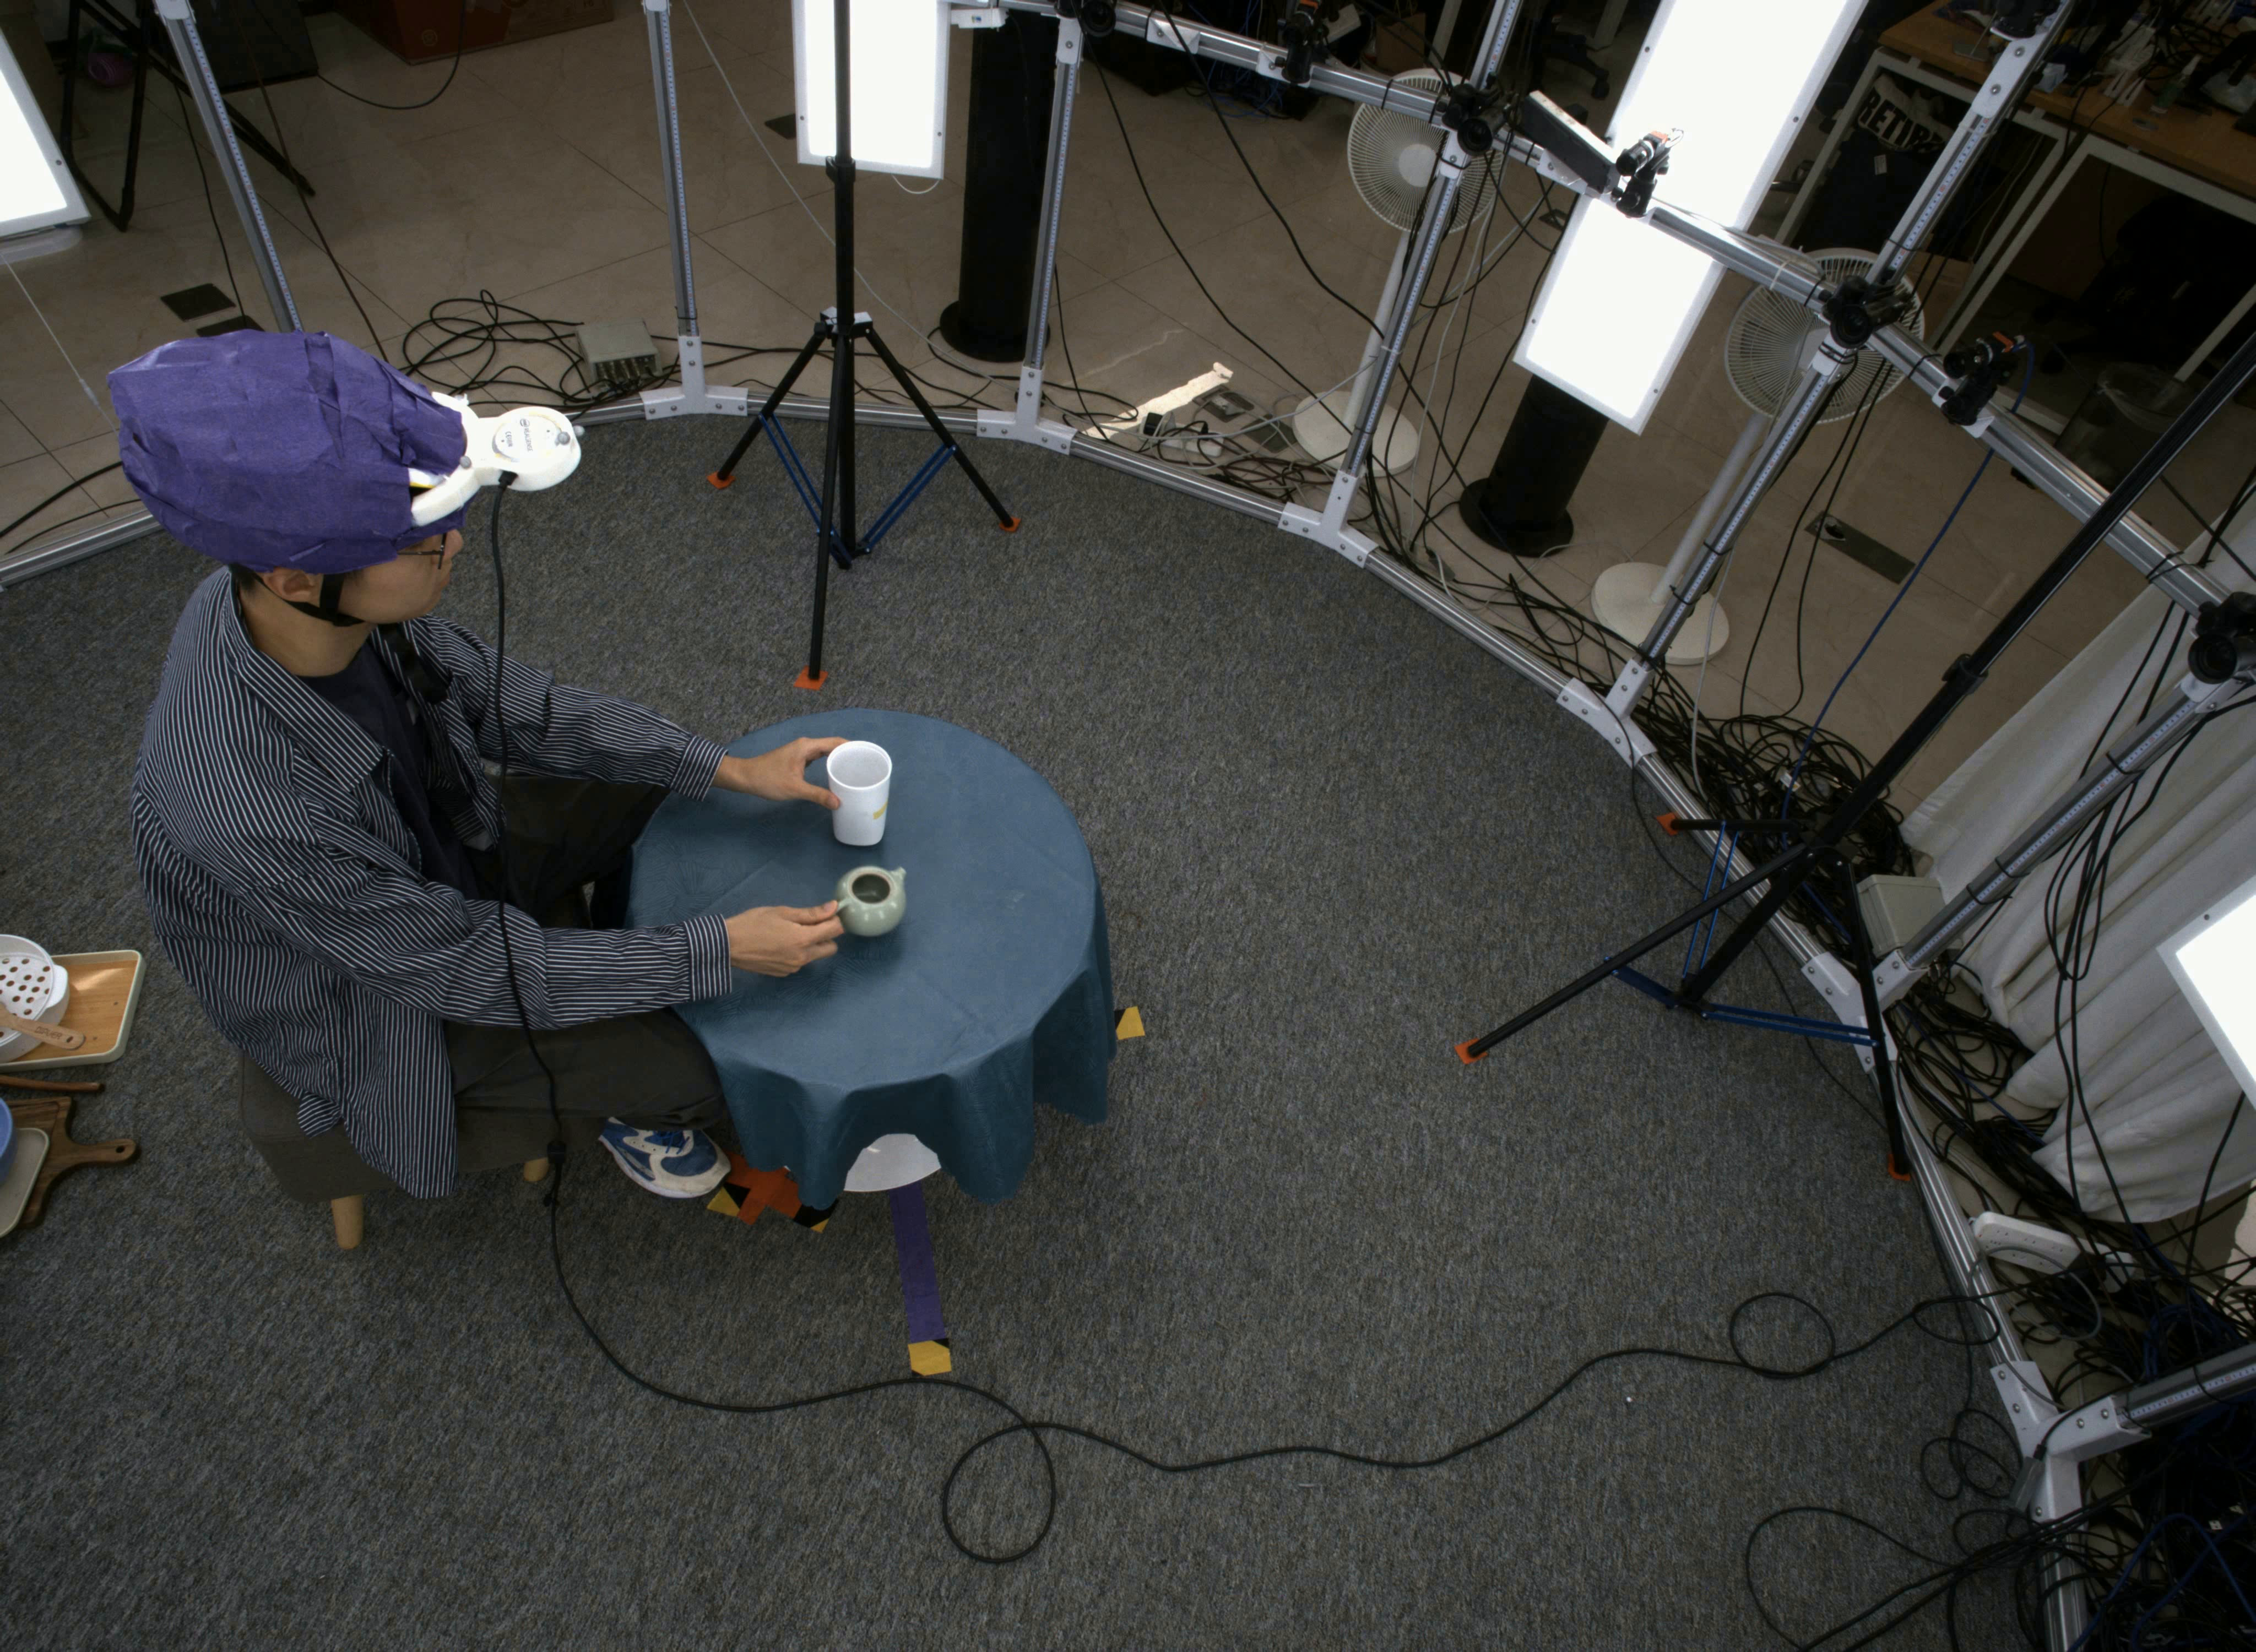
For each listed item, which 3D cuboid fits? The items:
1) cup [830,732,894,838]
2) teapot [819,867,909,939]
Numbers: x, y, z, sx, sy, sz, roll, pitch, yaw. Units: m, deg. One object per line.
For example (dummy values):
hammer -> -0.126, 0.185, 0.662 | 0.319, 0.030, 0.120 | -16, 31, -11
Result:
cup -> -0.348, -0.051, 1.702 | 0.081, 0.128, 0.080 | 6, 50, -6
teapot -> -0.329, 0.099, 1.617 | 0.129, 0.062, 0.089 | -26, 65, -36
